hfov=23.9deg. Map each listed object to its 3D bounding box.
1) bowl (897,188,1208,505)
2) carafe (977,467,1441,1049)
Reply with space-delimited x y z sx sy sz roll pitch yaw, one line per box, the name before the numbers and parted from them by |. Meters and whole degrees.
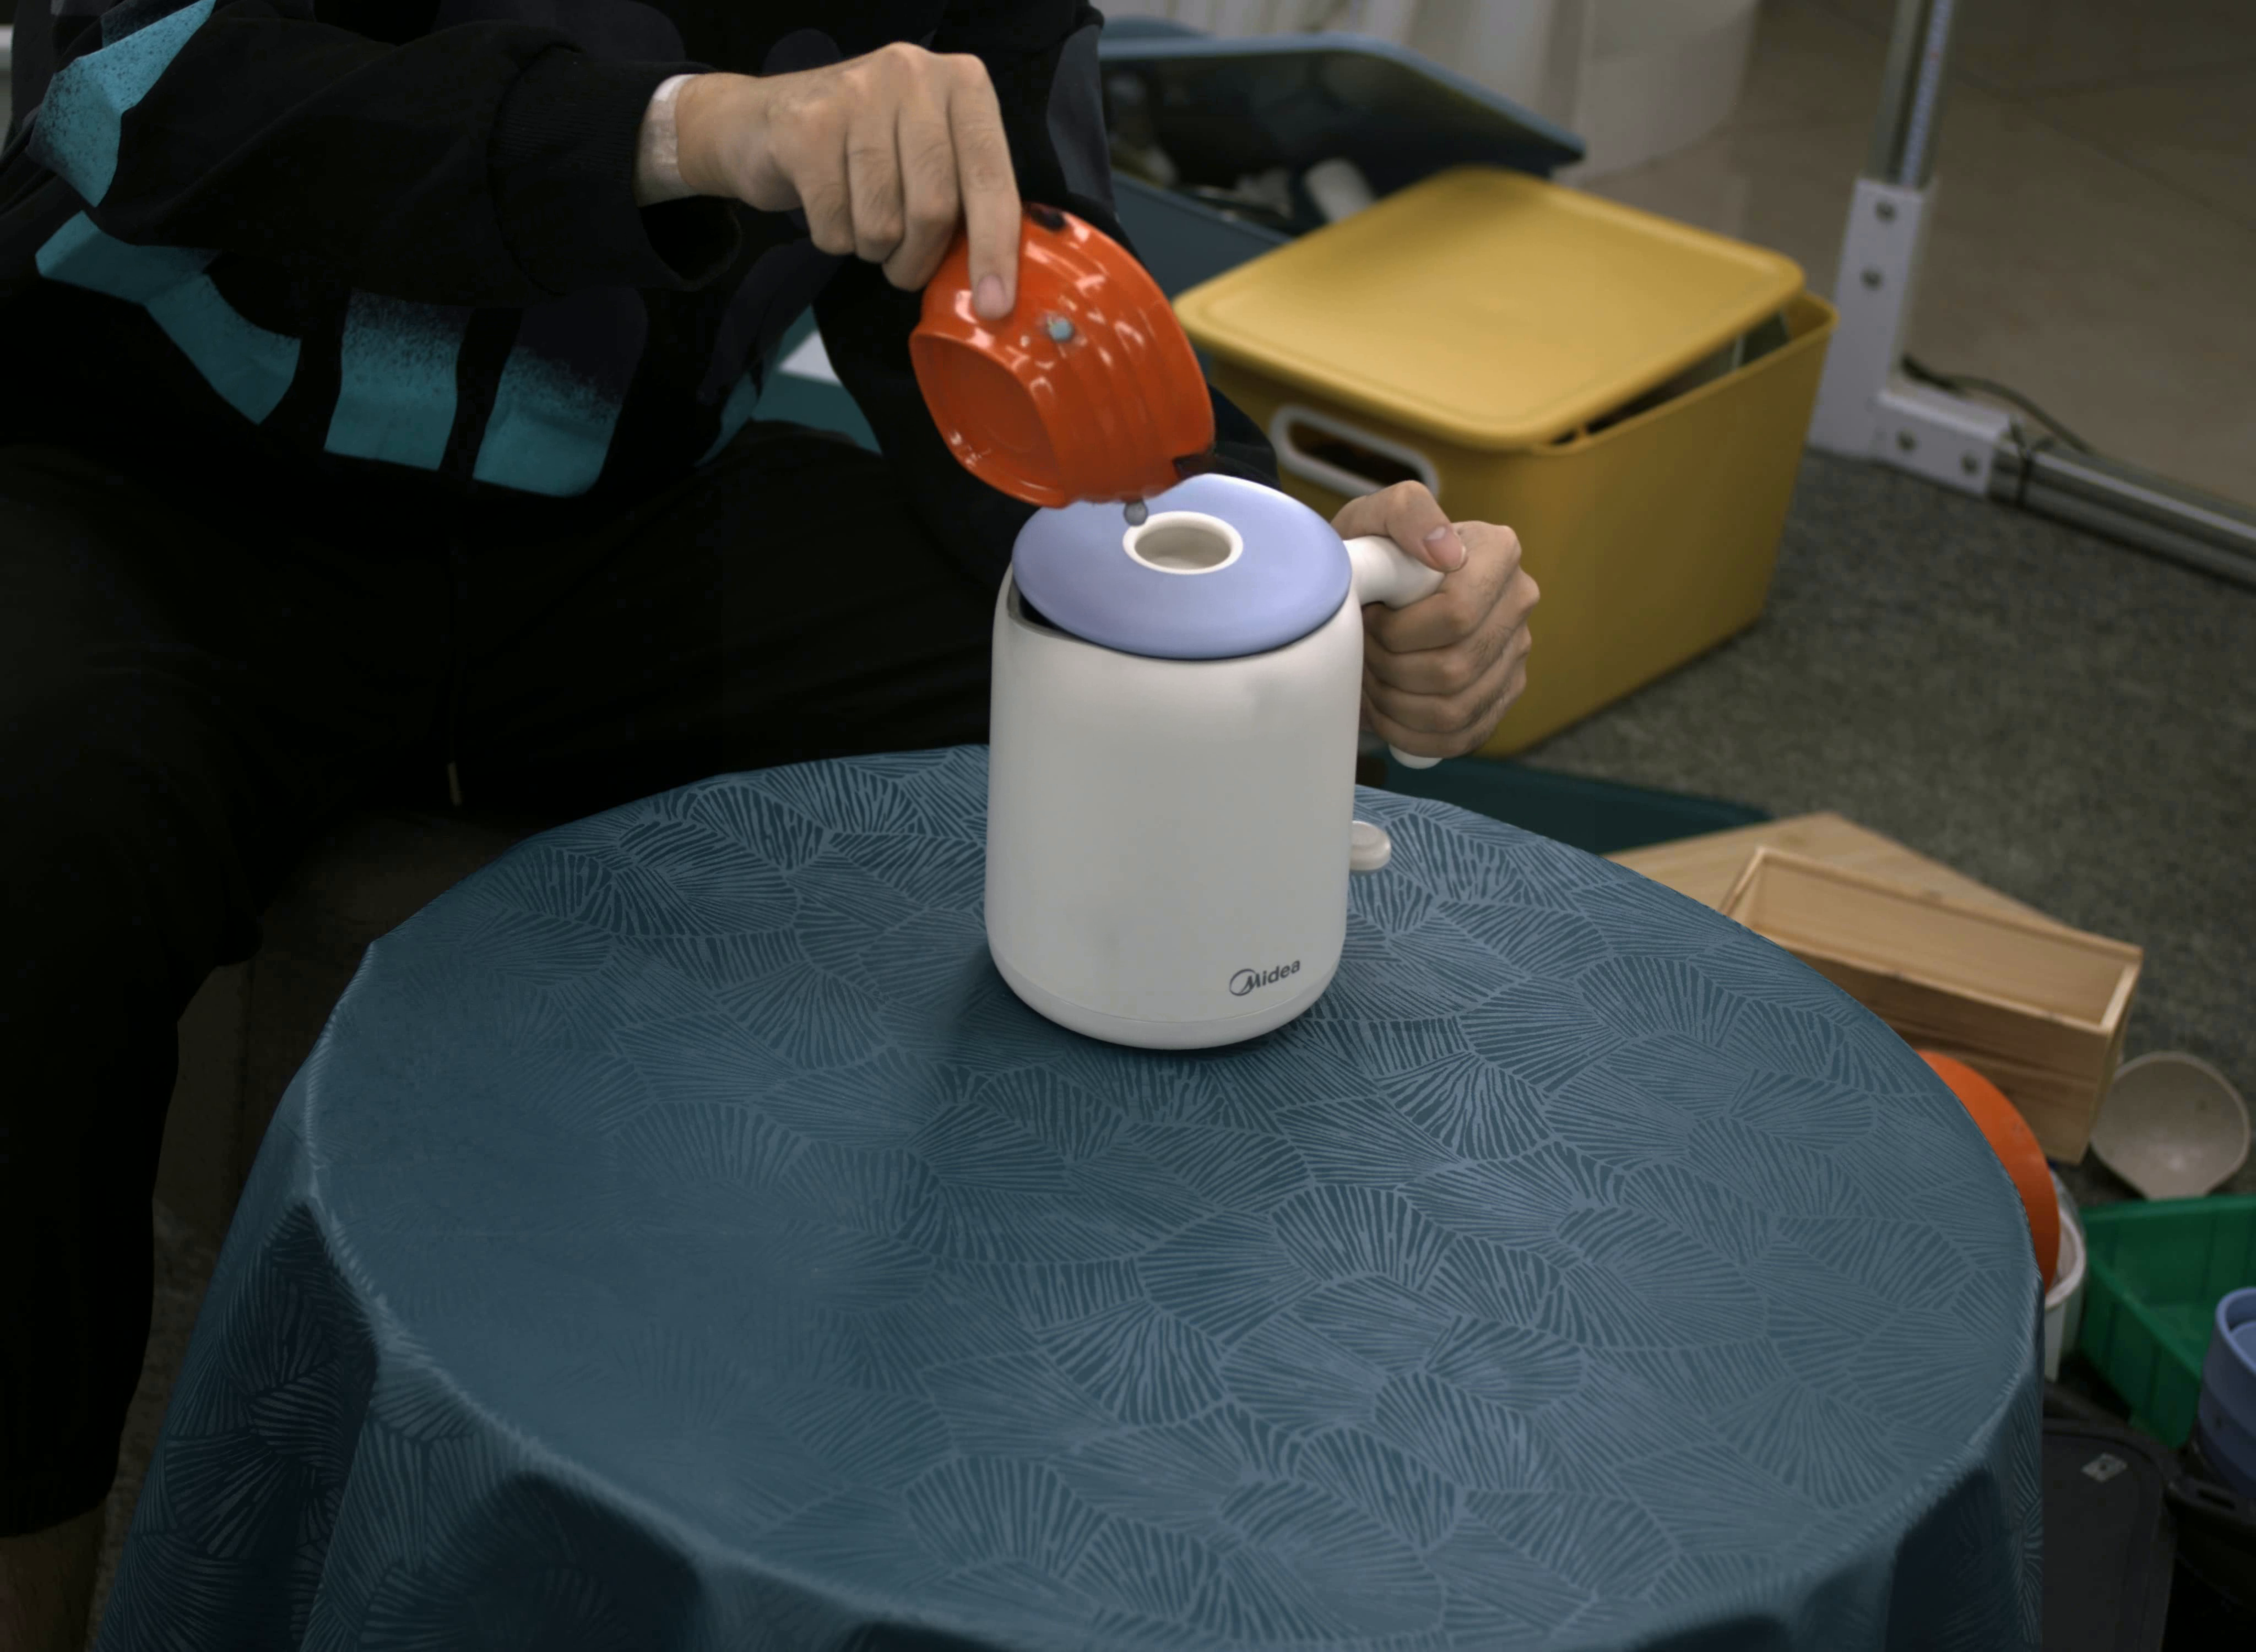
bowl | -0.032 -0.149 1.748 0.051 0.118 0.120 -42 48 -18
carafe | 0.035 -0.031 1.899 0.190 0.182 0.133 -16 39 -30
